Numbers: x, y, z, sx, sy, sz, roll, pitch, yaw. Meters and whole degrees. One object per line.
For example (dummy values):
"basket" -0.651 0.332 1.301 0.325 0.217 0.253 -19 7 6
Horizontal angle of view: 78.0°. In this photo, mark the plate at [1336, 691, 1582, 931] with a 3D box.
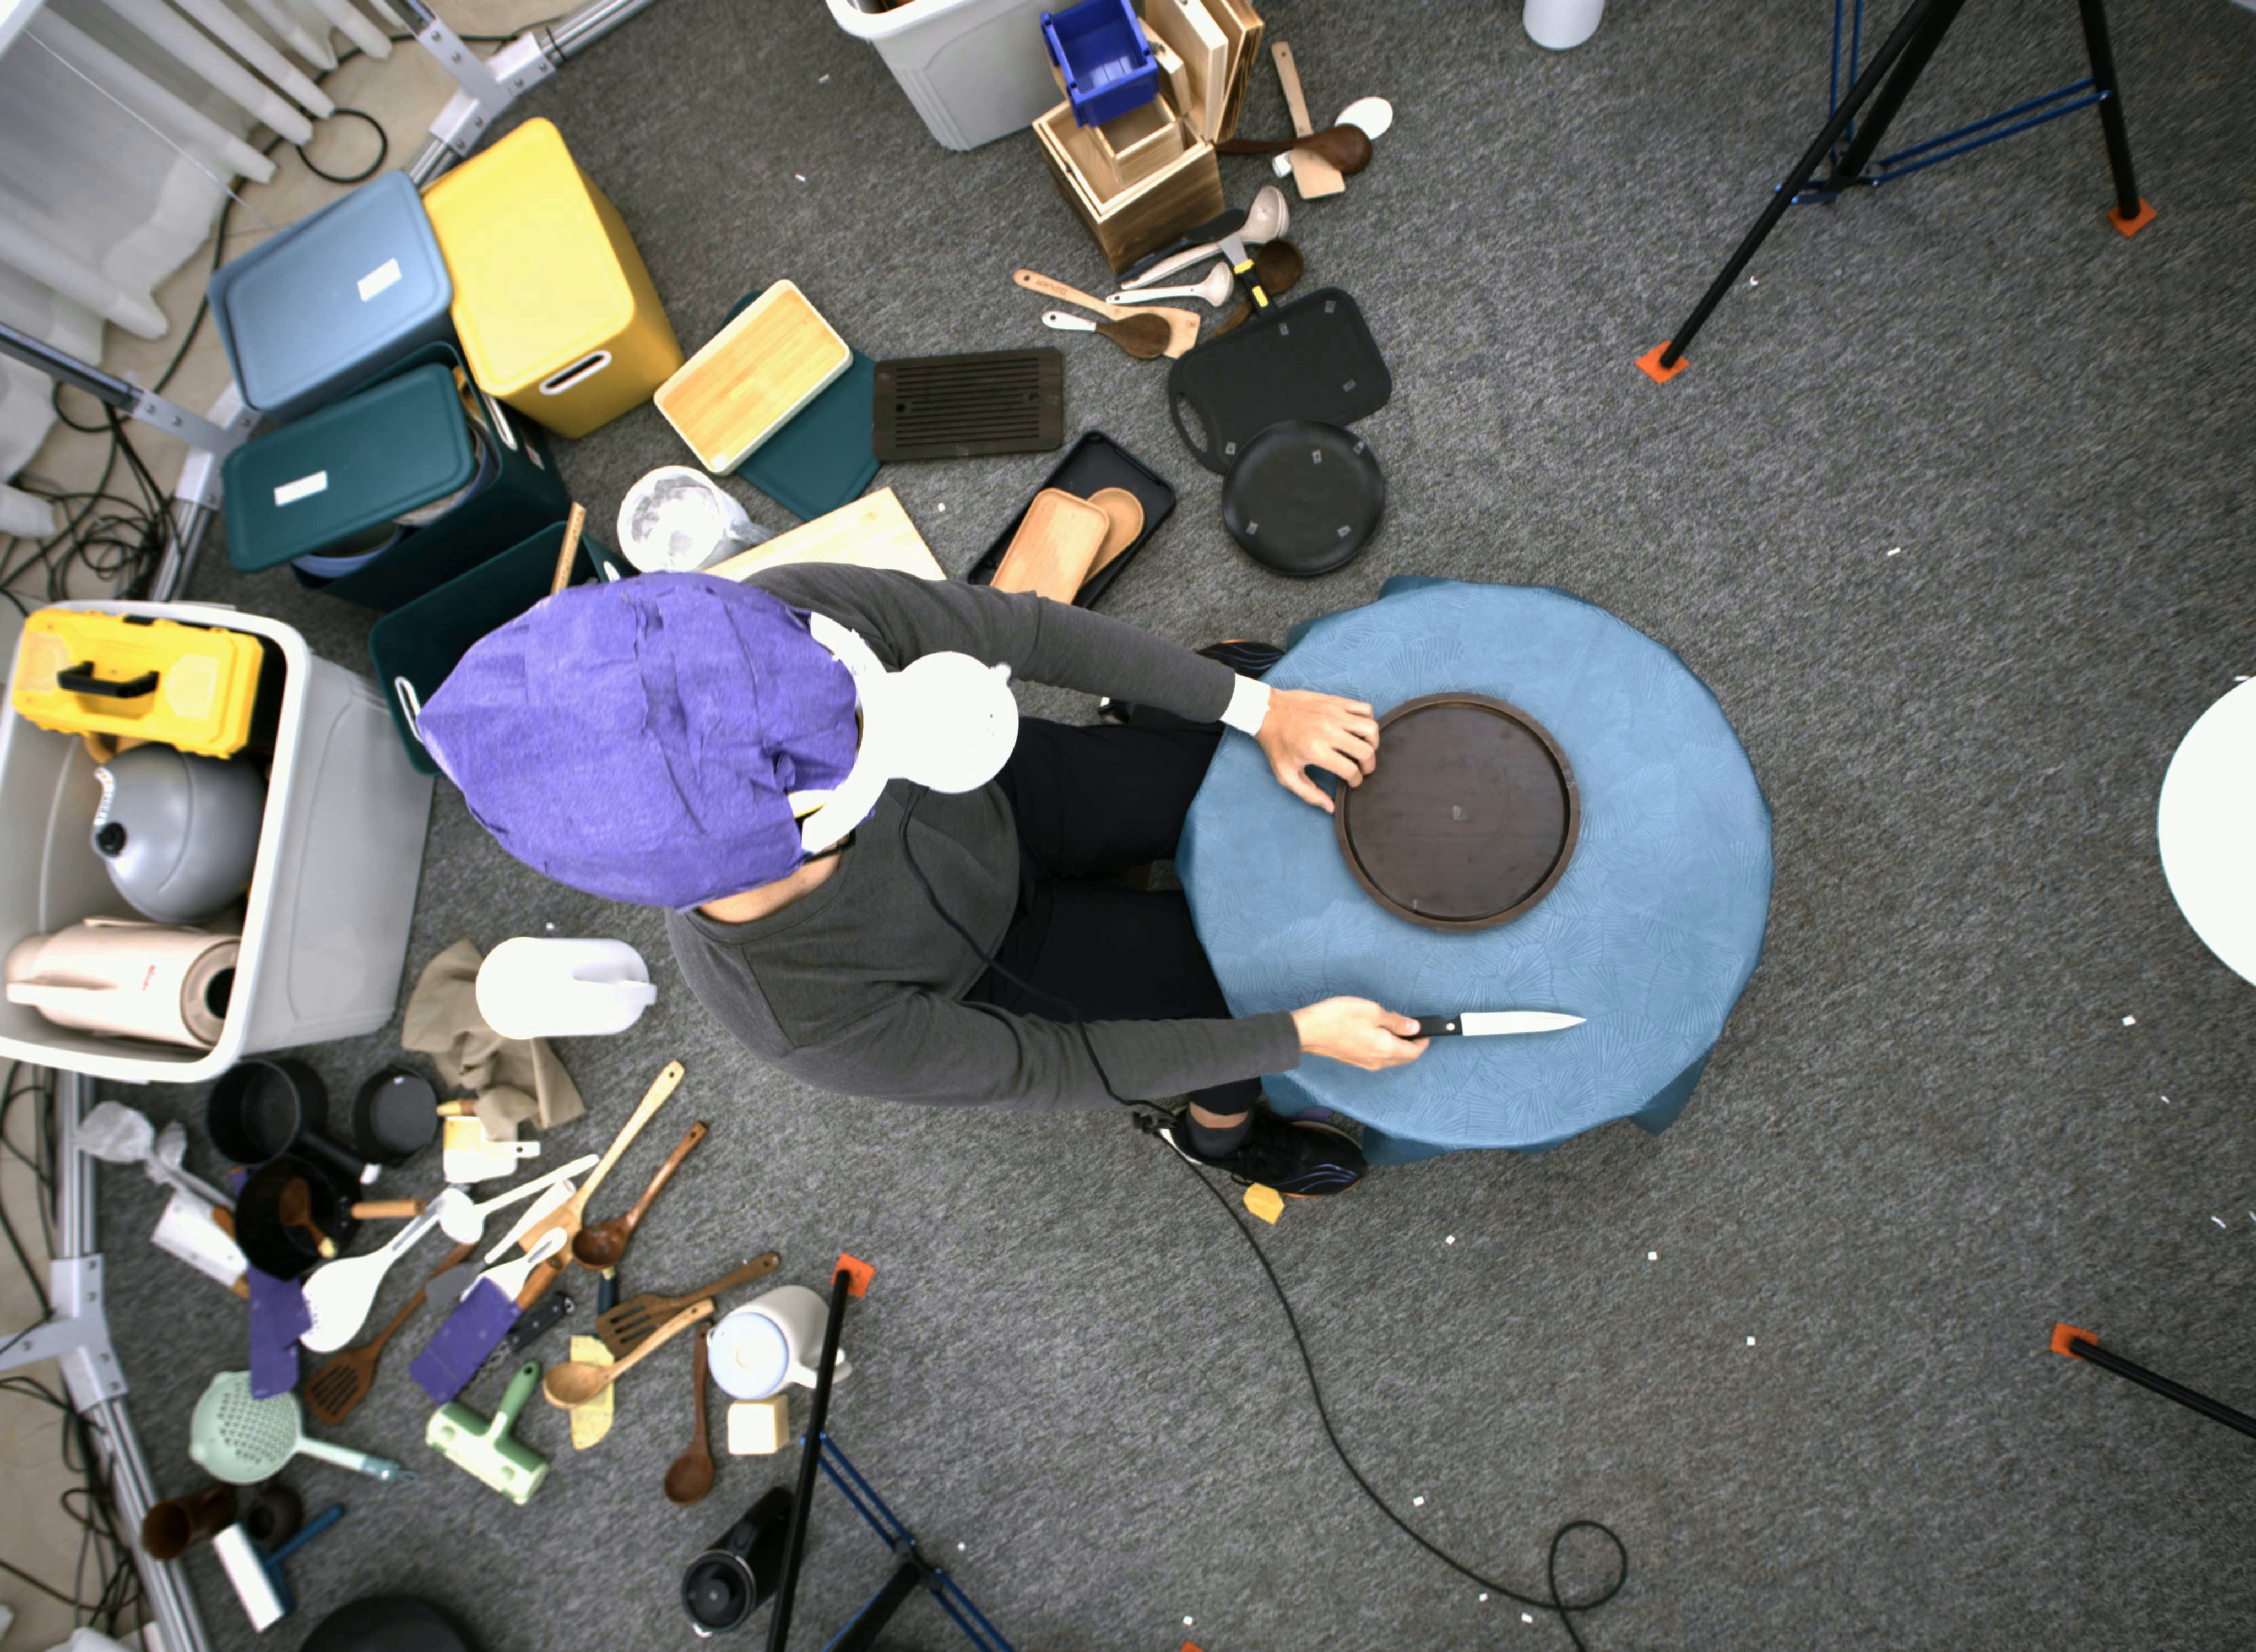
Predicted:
"plate" 0.344 -0.018 1.440 0.256 0.029 0.253 -1 86 10

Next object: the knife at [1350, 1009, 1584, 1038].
"knife" 0.345 0.200 1.404 0.238 0.016 0.024 -3 70 3
